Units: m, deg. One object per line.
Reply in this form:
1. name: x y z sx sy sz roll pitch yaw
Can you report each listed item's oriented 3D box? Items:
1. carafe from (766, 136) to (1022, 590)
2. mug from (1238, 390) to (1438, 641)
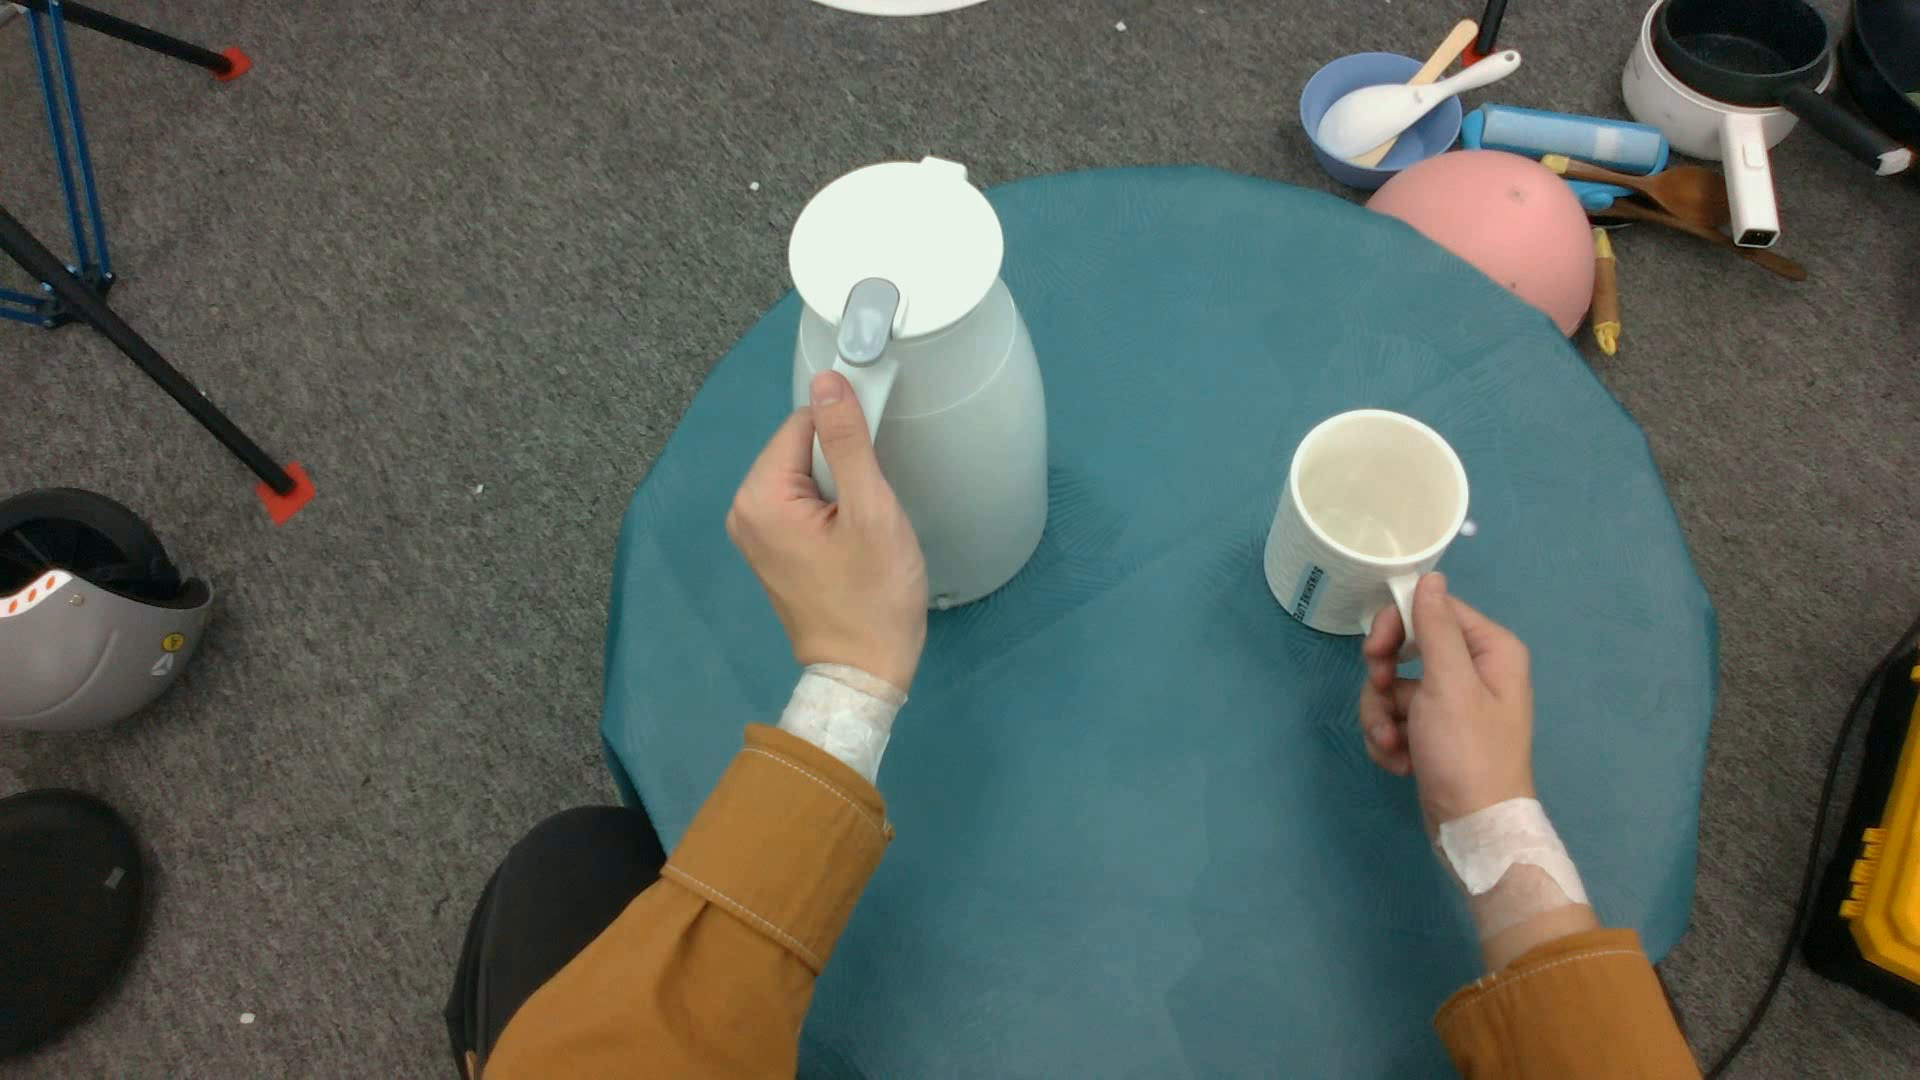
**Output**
1. carafe: -0.038 -0.066 0.677 0.132 0.247 0.168 15 66 8
2. mug: 0.200 -0.003 0.720 0.085 0.101 0.118 -15 65 -5
